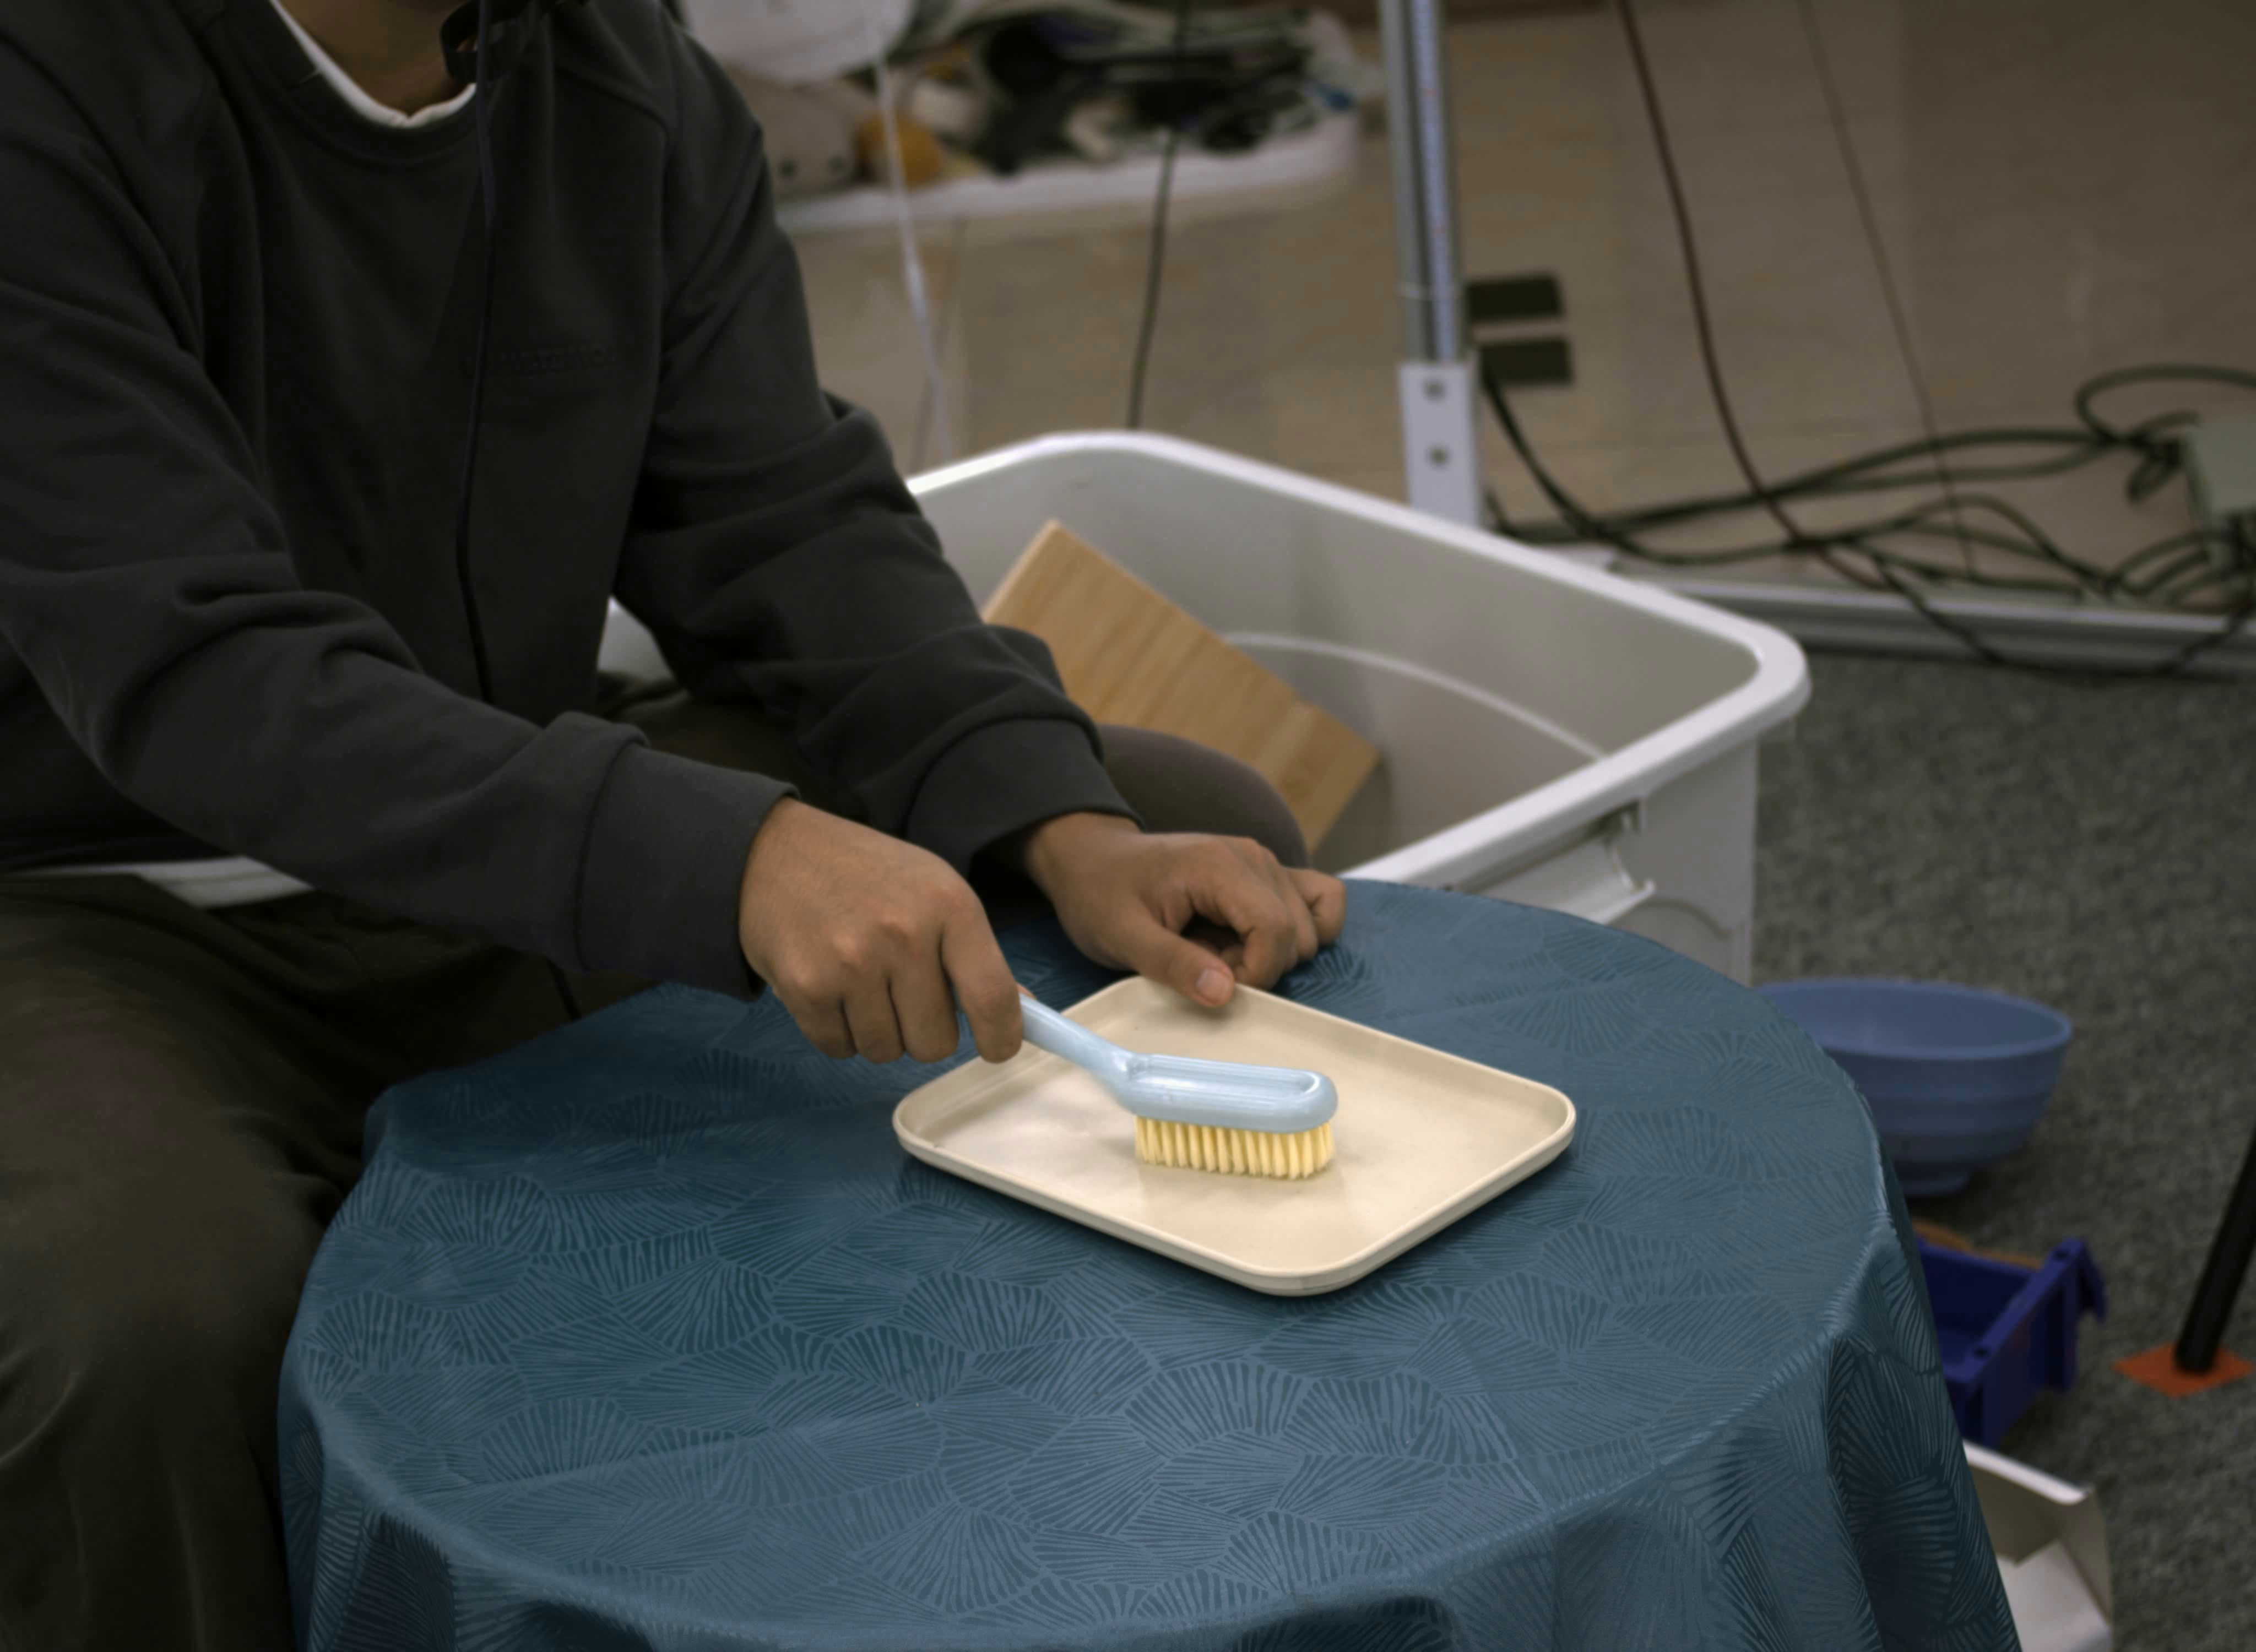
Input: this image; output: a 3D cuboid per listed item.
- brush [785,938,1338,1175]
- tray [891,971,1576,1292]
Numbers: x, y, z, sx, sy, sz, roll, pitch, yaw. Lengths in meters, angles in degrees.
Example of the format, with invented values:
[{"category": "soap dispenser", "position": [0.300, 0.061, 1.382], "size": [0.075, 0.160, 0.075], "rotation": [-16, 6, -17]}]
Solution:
[{"category": "brush", "position": [-0.028, 0.089, 2.172], "size": [0.227, 0.050, 0.037], "rotation": [17, 32, 17]}, {"category": "tray", "position": [0.039, 0.116, 2.166], "size": [0.238, 0.018, 0.170], "rotation": [18, 33, 42]}]
